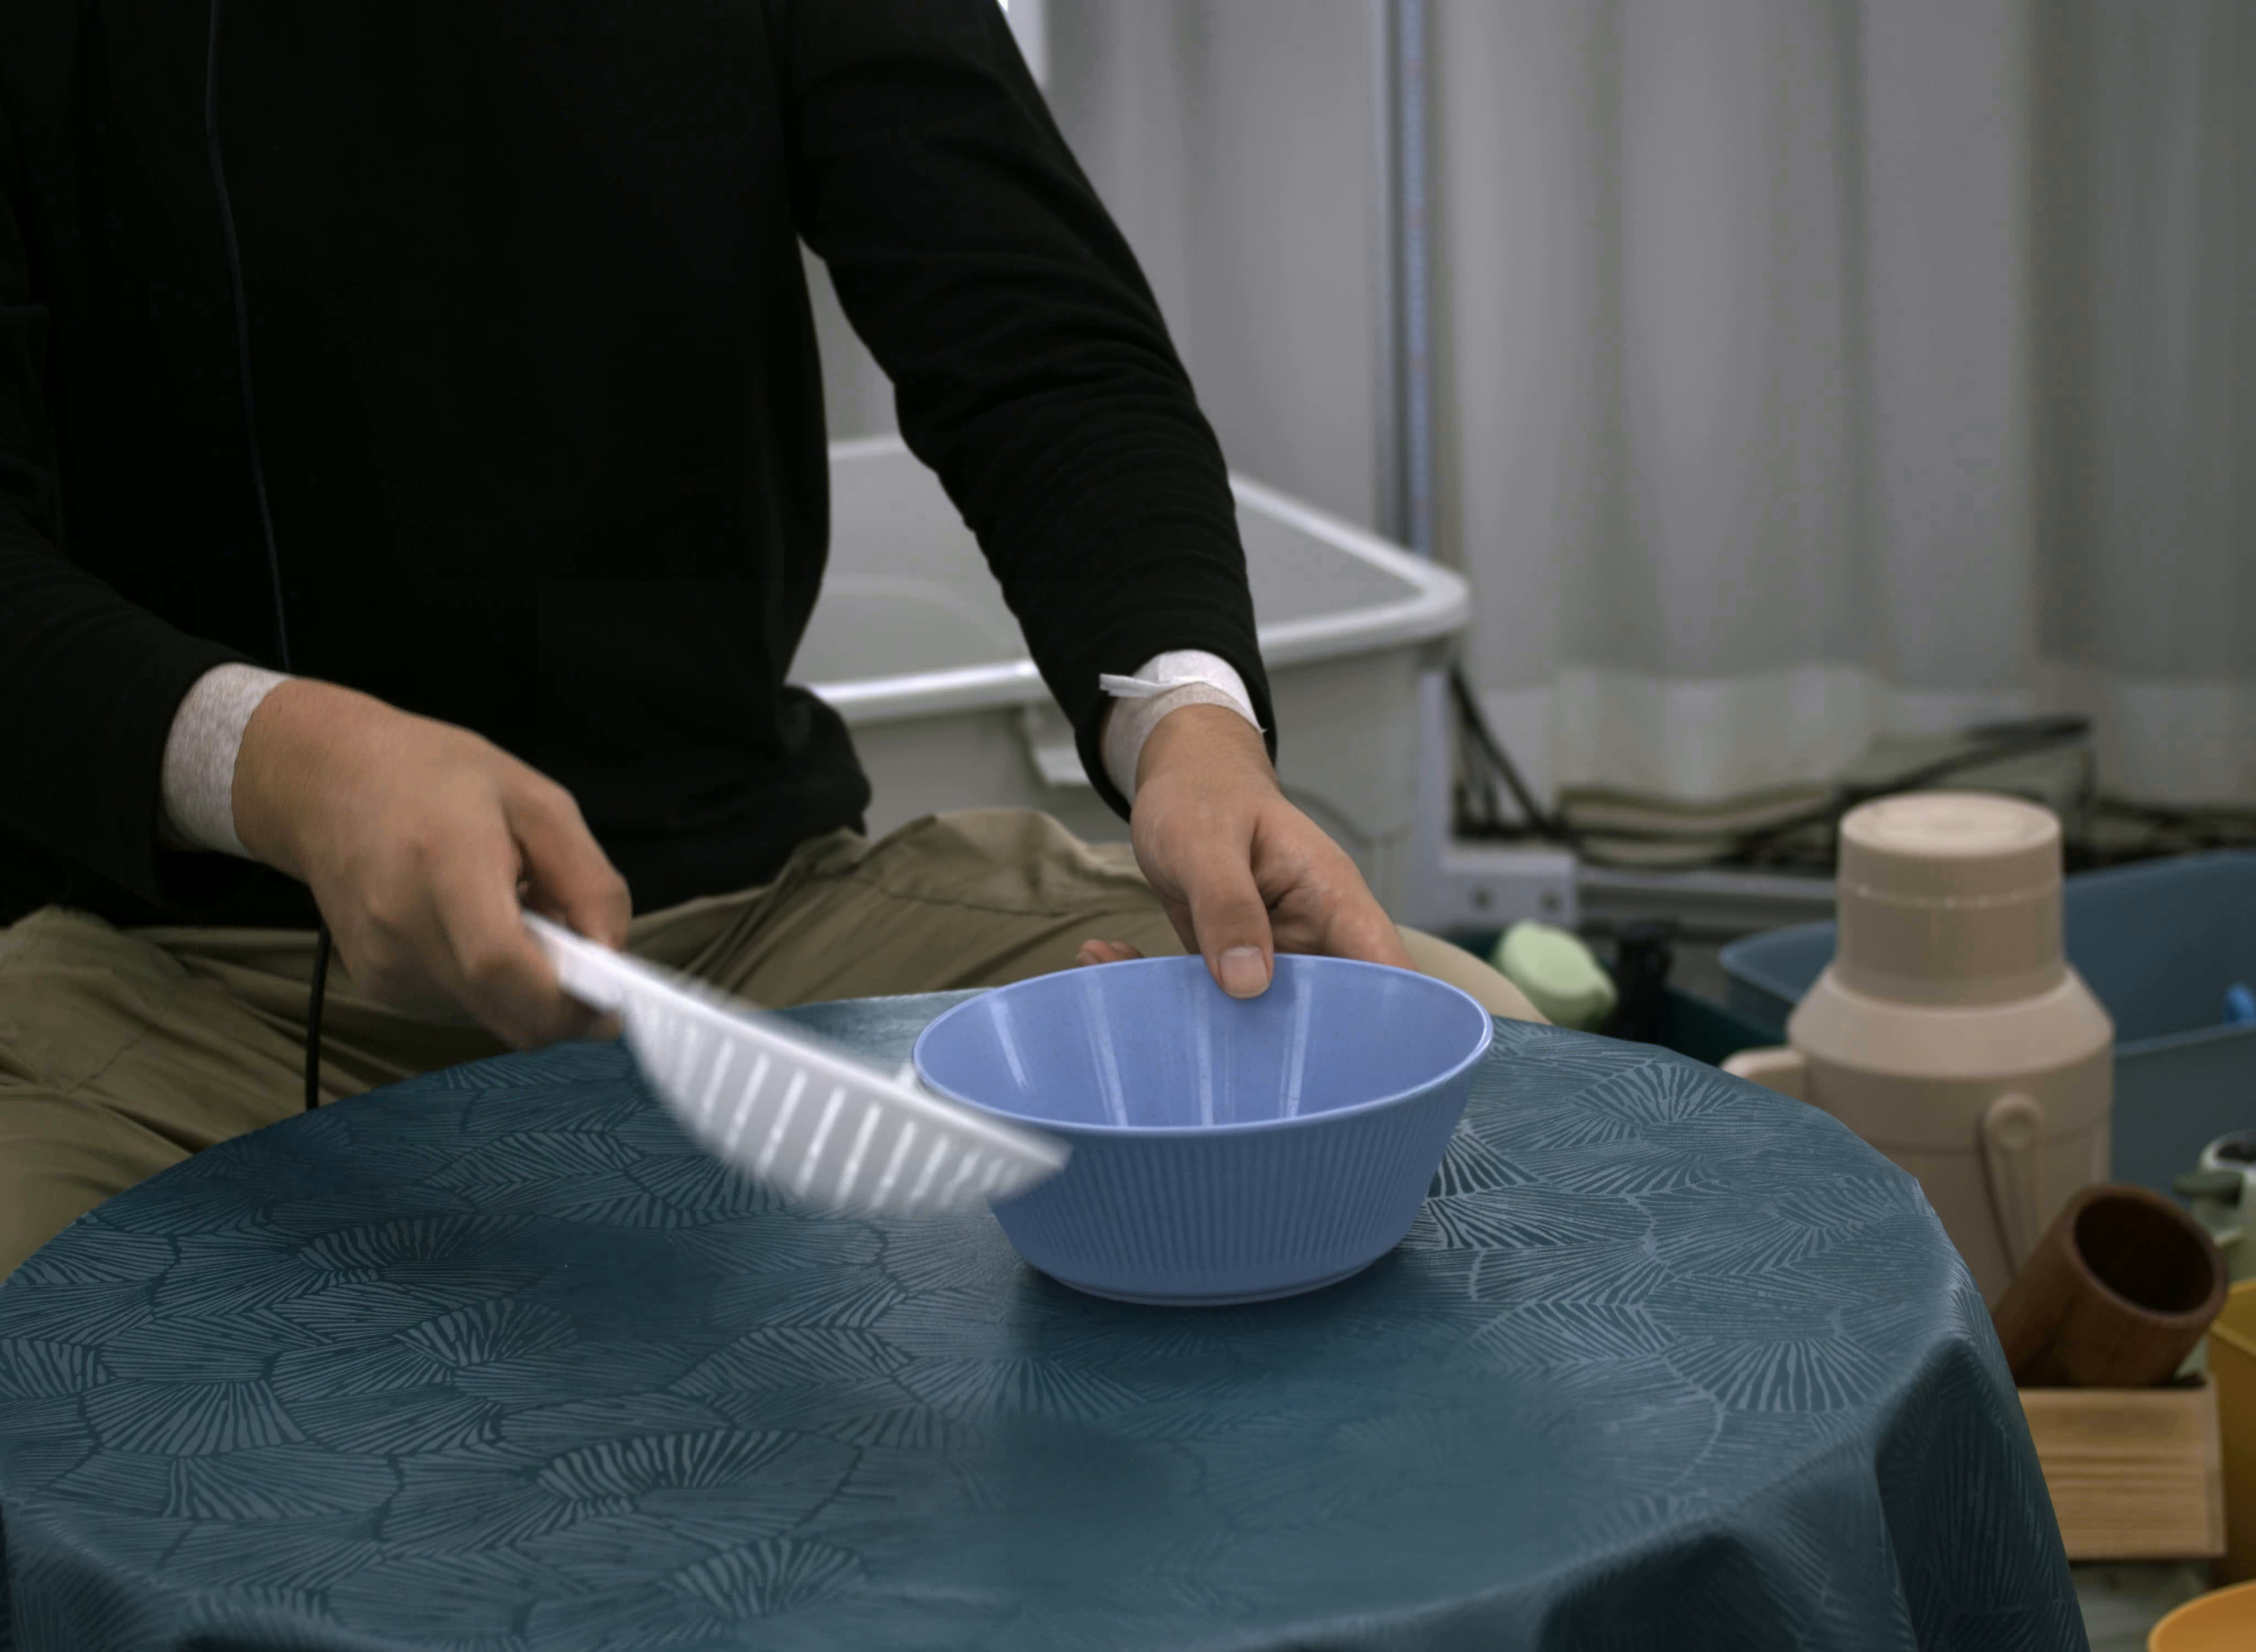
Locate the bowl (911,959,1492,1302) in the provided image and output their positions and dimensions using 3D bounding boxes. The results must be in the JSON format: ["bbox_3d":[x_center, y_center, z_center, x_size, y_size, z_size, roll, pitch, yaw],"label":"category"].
[{"bbox_3d":[0.024,0.094,1.652,0.175,0.070,0.177,-3,14,1],"label":"bowl"}]

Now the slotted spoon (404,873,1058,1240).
[{"bbox_3d":[-0.136,0.057,1.585,0.134,0.046,0.353,24,3,-31],"label":"slotted spoon"}]
